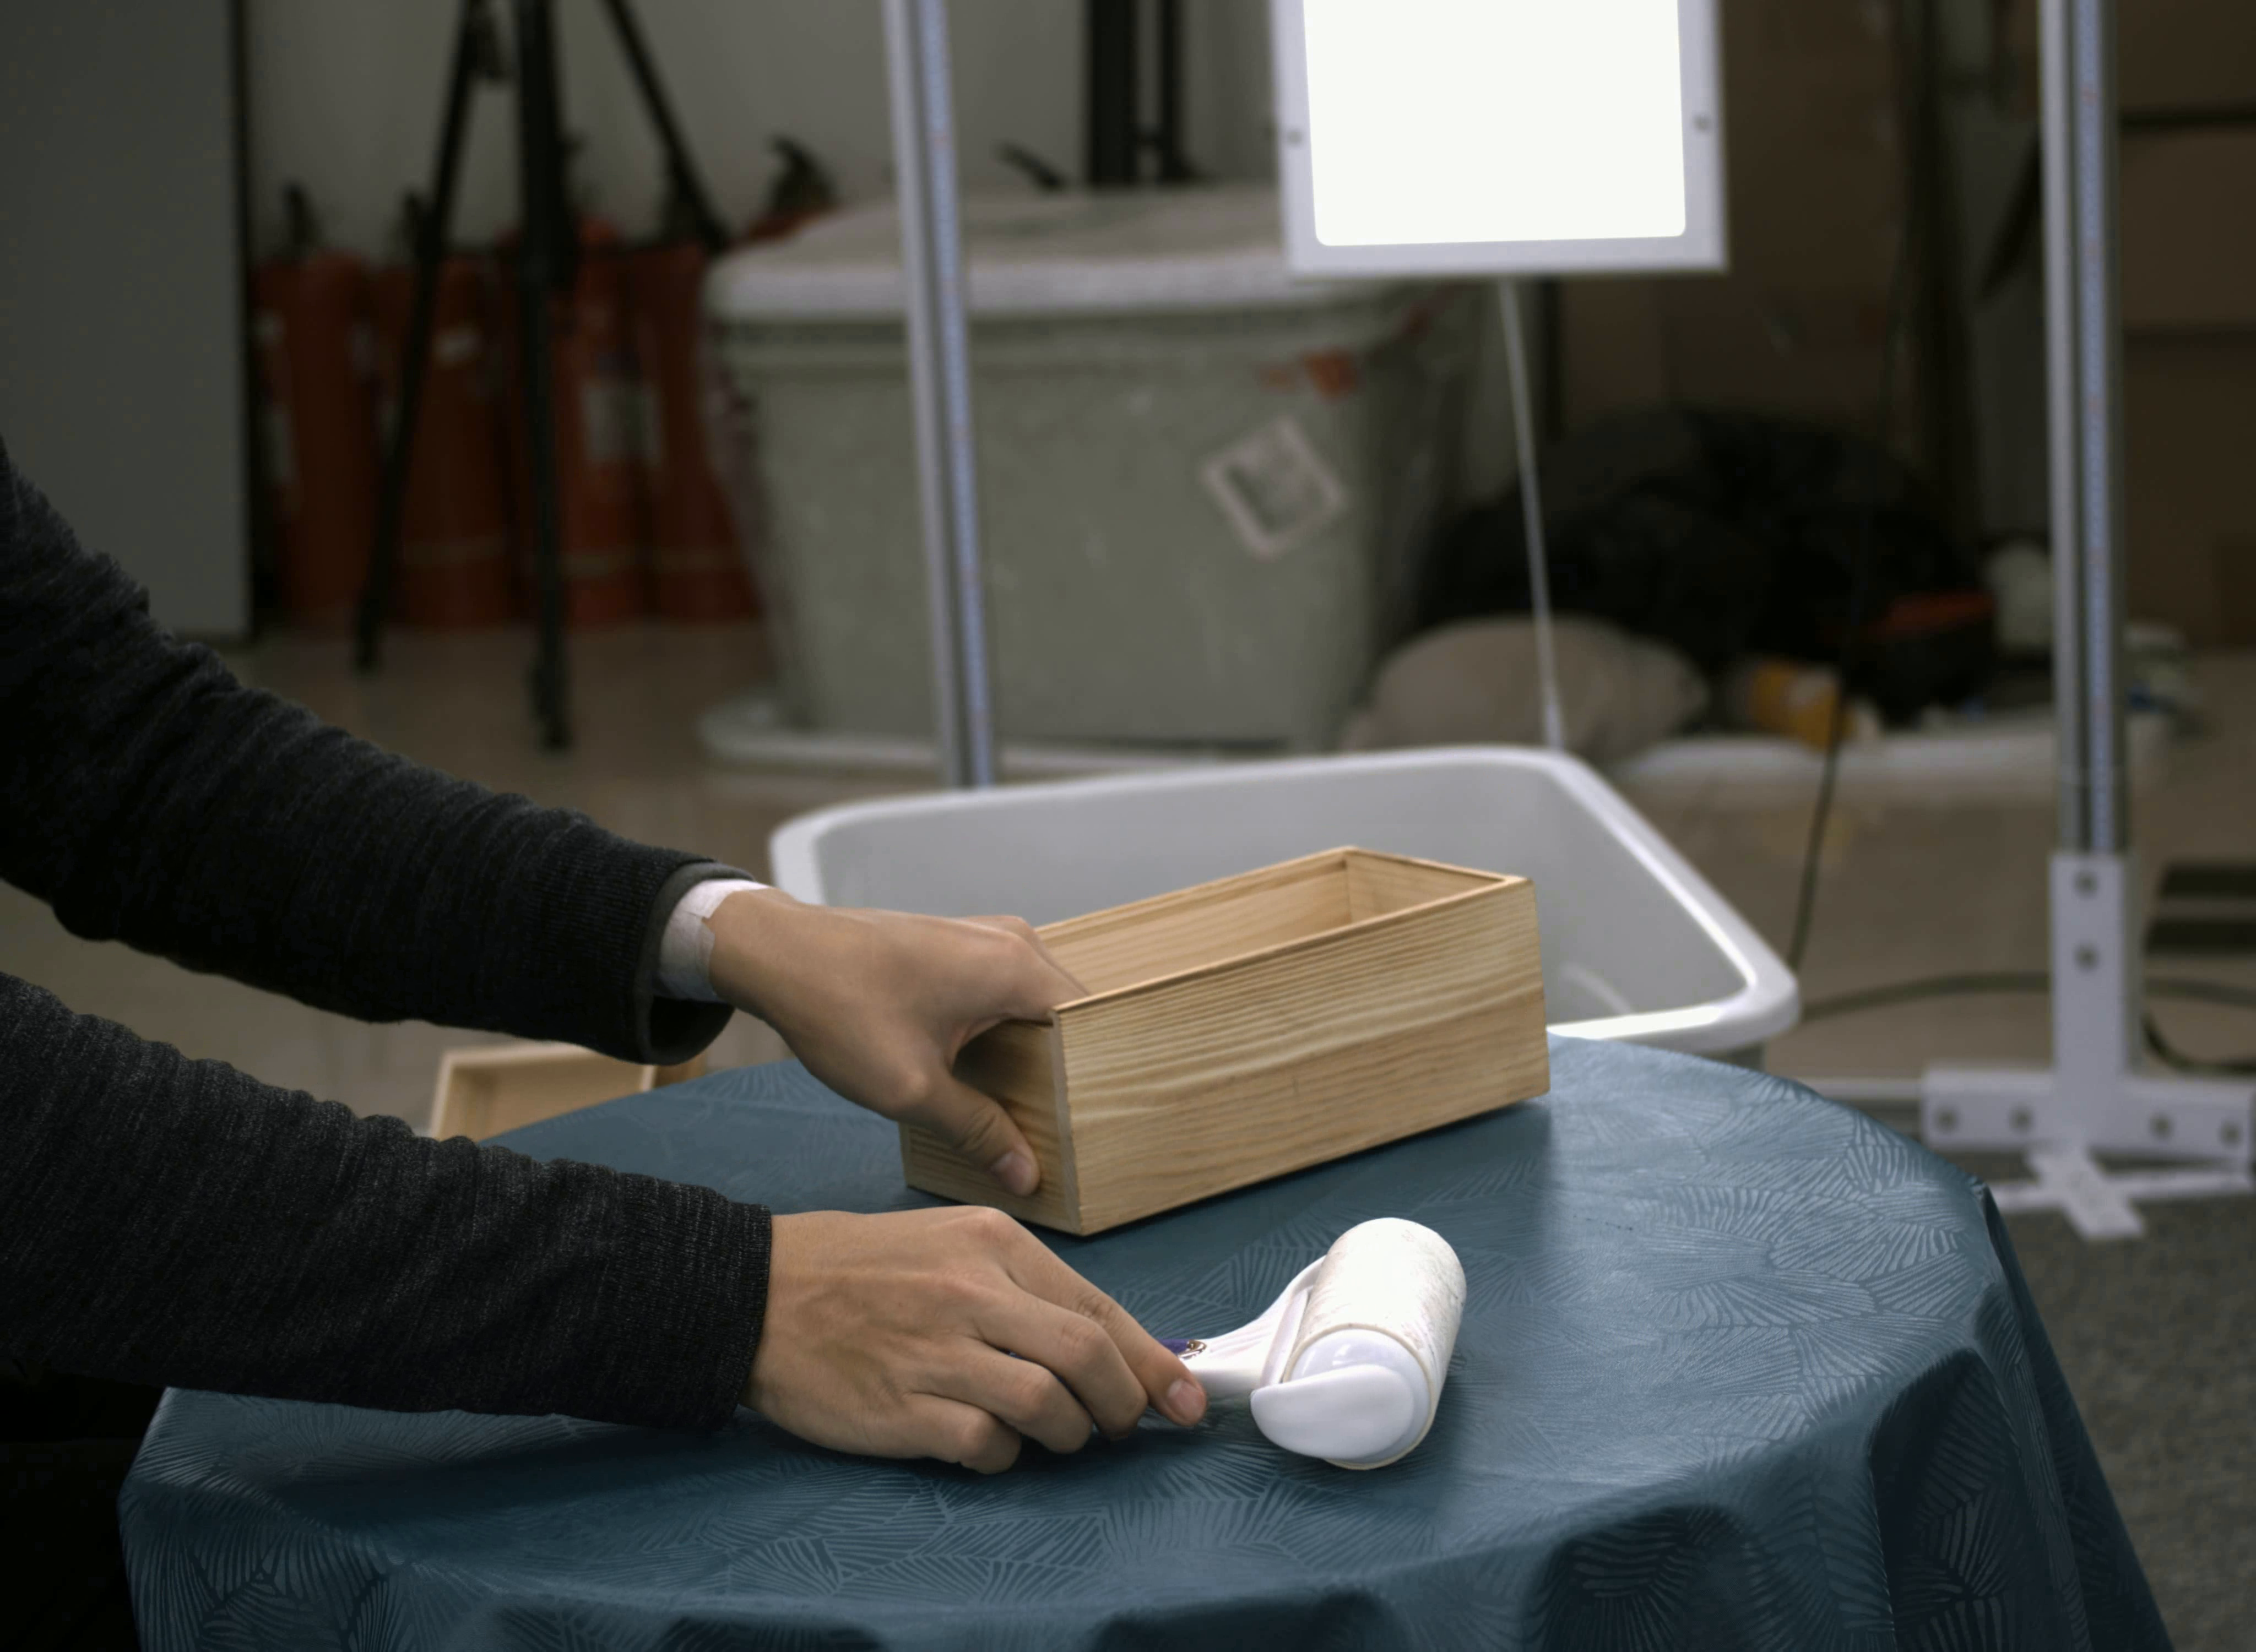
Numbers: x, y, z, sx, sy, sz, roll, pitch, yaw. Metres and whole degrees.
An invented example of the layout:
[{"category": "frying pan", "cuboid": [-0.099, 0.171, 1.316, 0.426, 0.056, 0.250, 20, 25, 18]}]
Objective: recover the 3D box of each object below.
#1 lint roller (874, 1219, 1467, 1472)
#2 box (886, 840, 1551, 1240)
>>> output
[{"category": "lint roller", "cuboid": [0.011, 0.157, 1.672, 0.182, 0.050, 0.131, 0, 15, 12]}, {"category": "box", "cuboid": [0.033, 0.072, 1.933, 0.206, 0.080, 0.110, -15, 15, -33]}]
